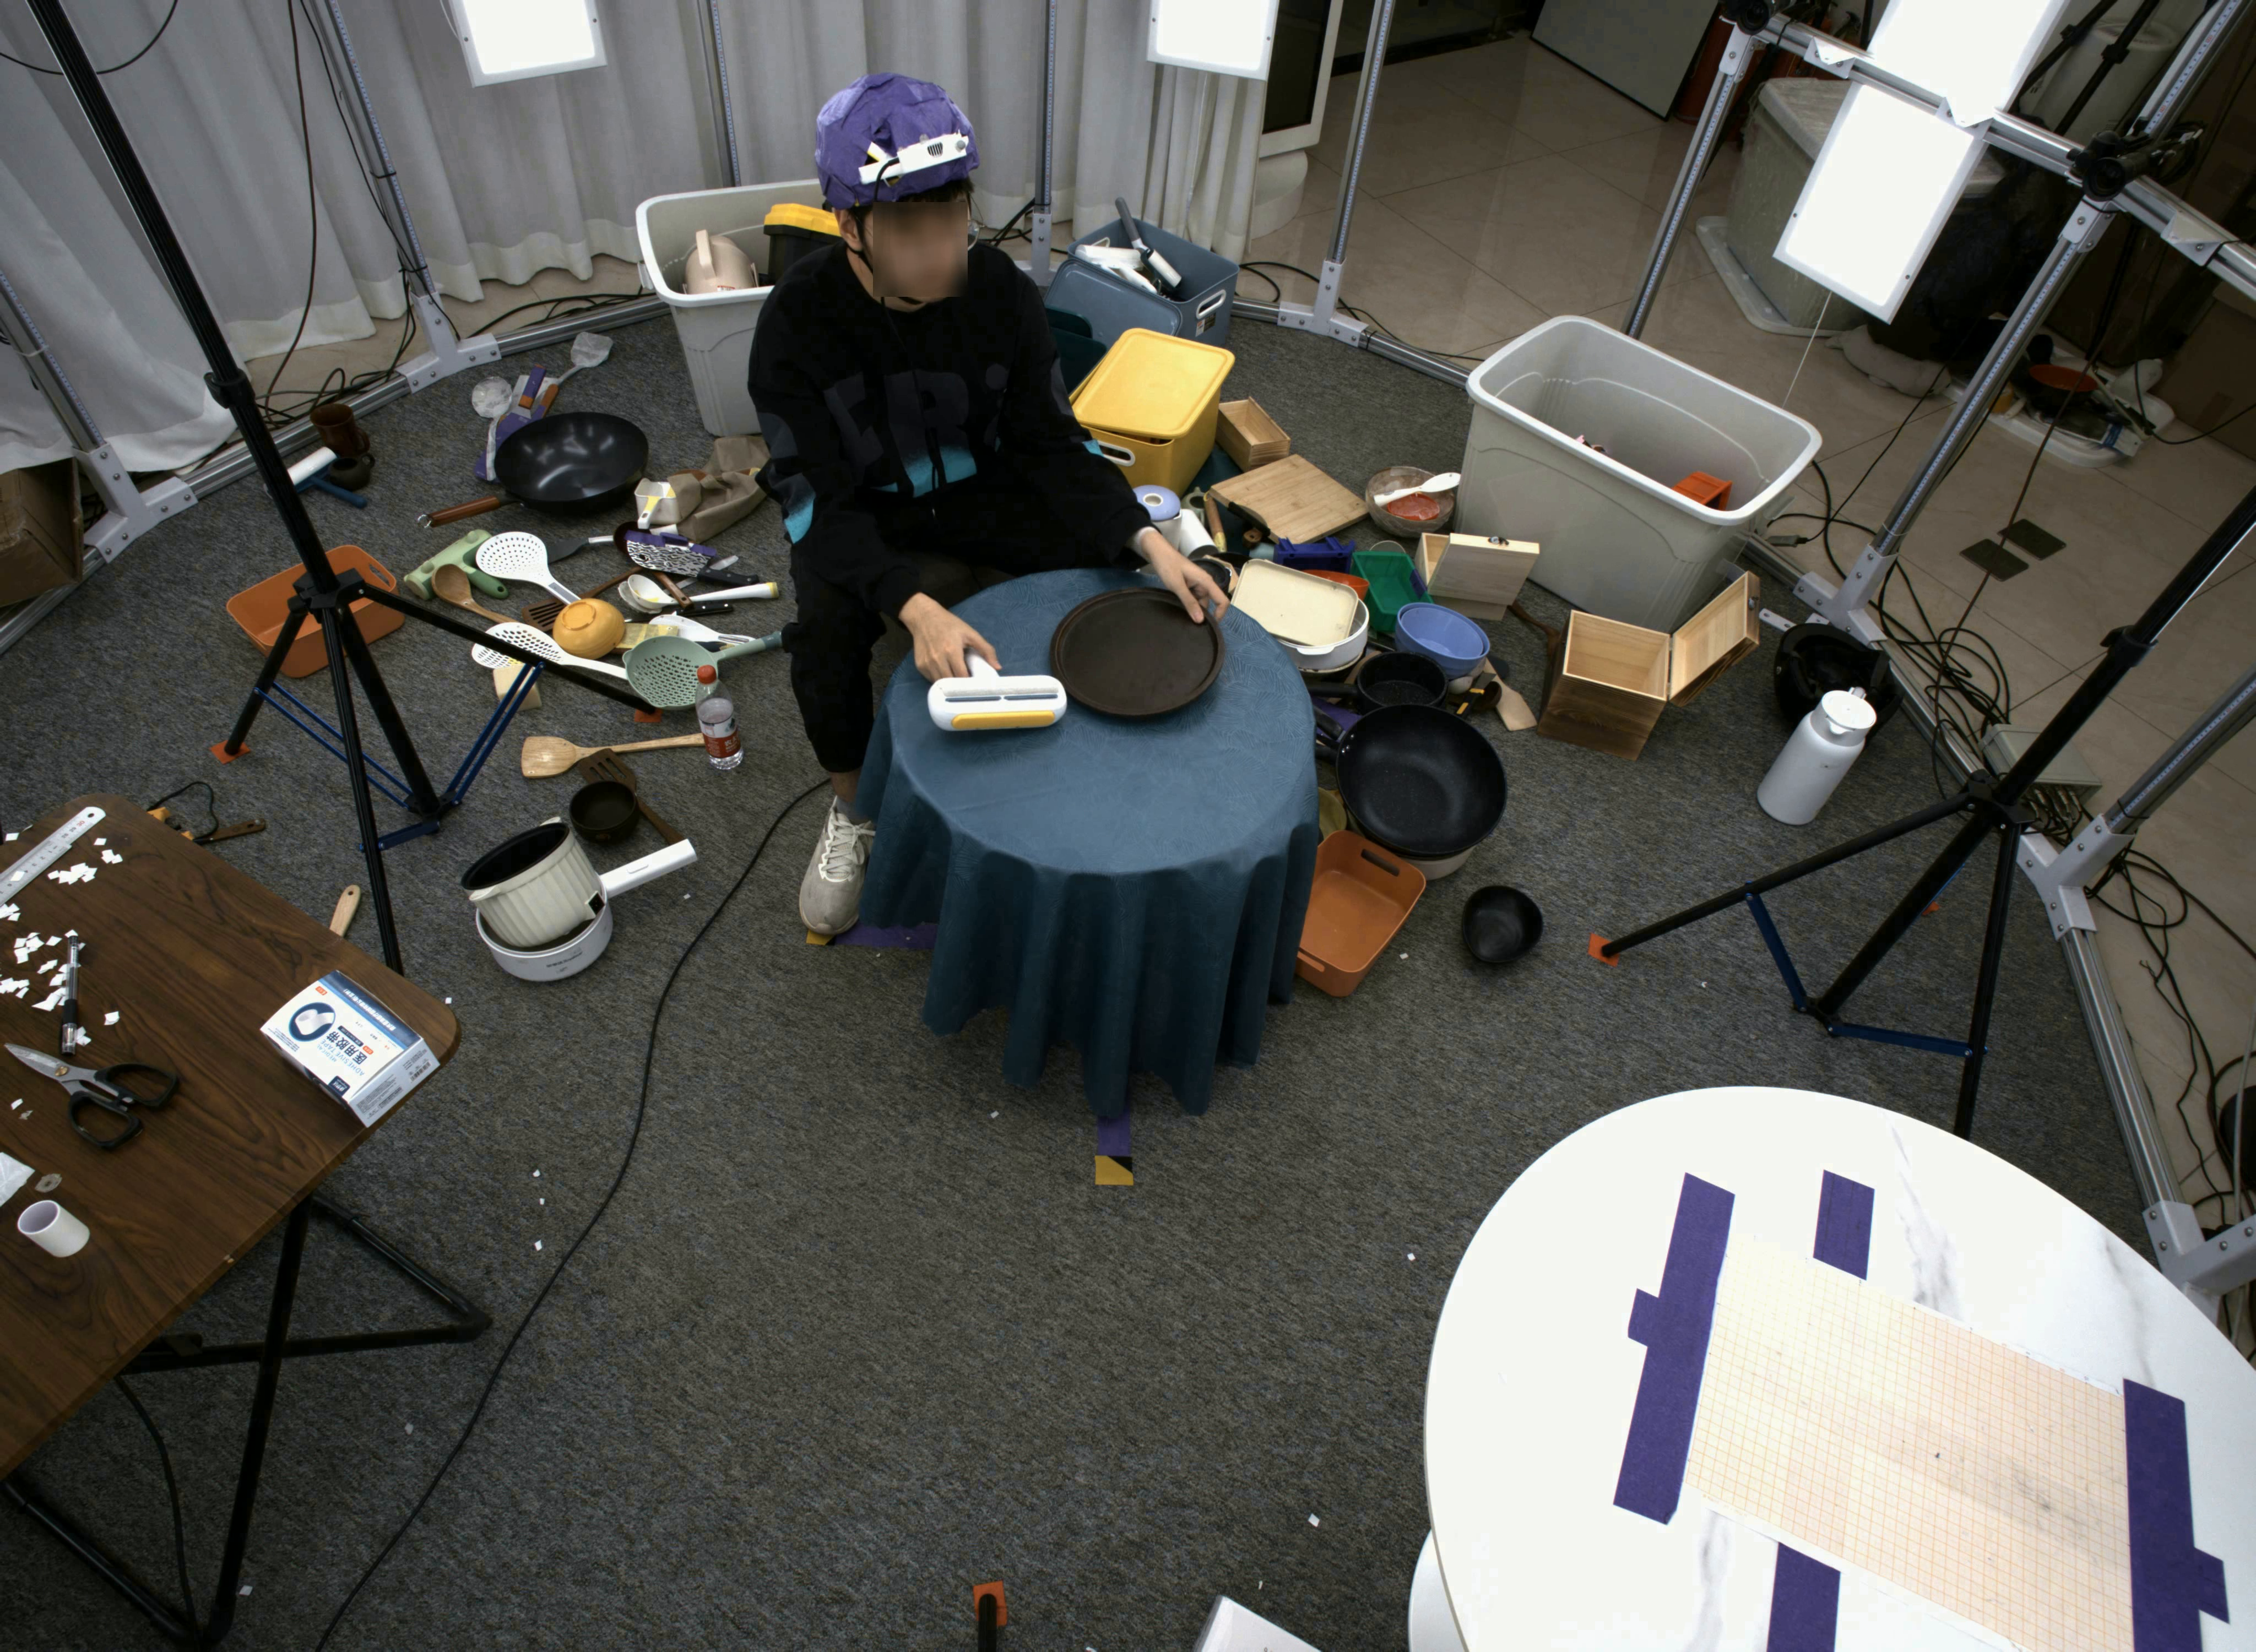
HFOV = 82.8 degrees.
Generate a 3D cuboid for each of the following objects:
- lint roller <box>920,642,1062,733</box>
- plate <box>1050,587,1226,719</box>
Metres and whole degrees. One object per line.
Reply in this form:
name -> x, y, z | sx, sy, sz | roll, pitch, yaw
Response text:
lint roller -> -0.201, -0.205, 1.789 | 0.192, 0.072, 0.197 | -5, 48, -17
plate -> 0.014, -0.250, 1.854 | 0.255, 0.028, 0.261 | -3, 51, 3
